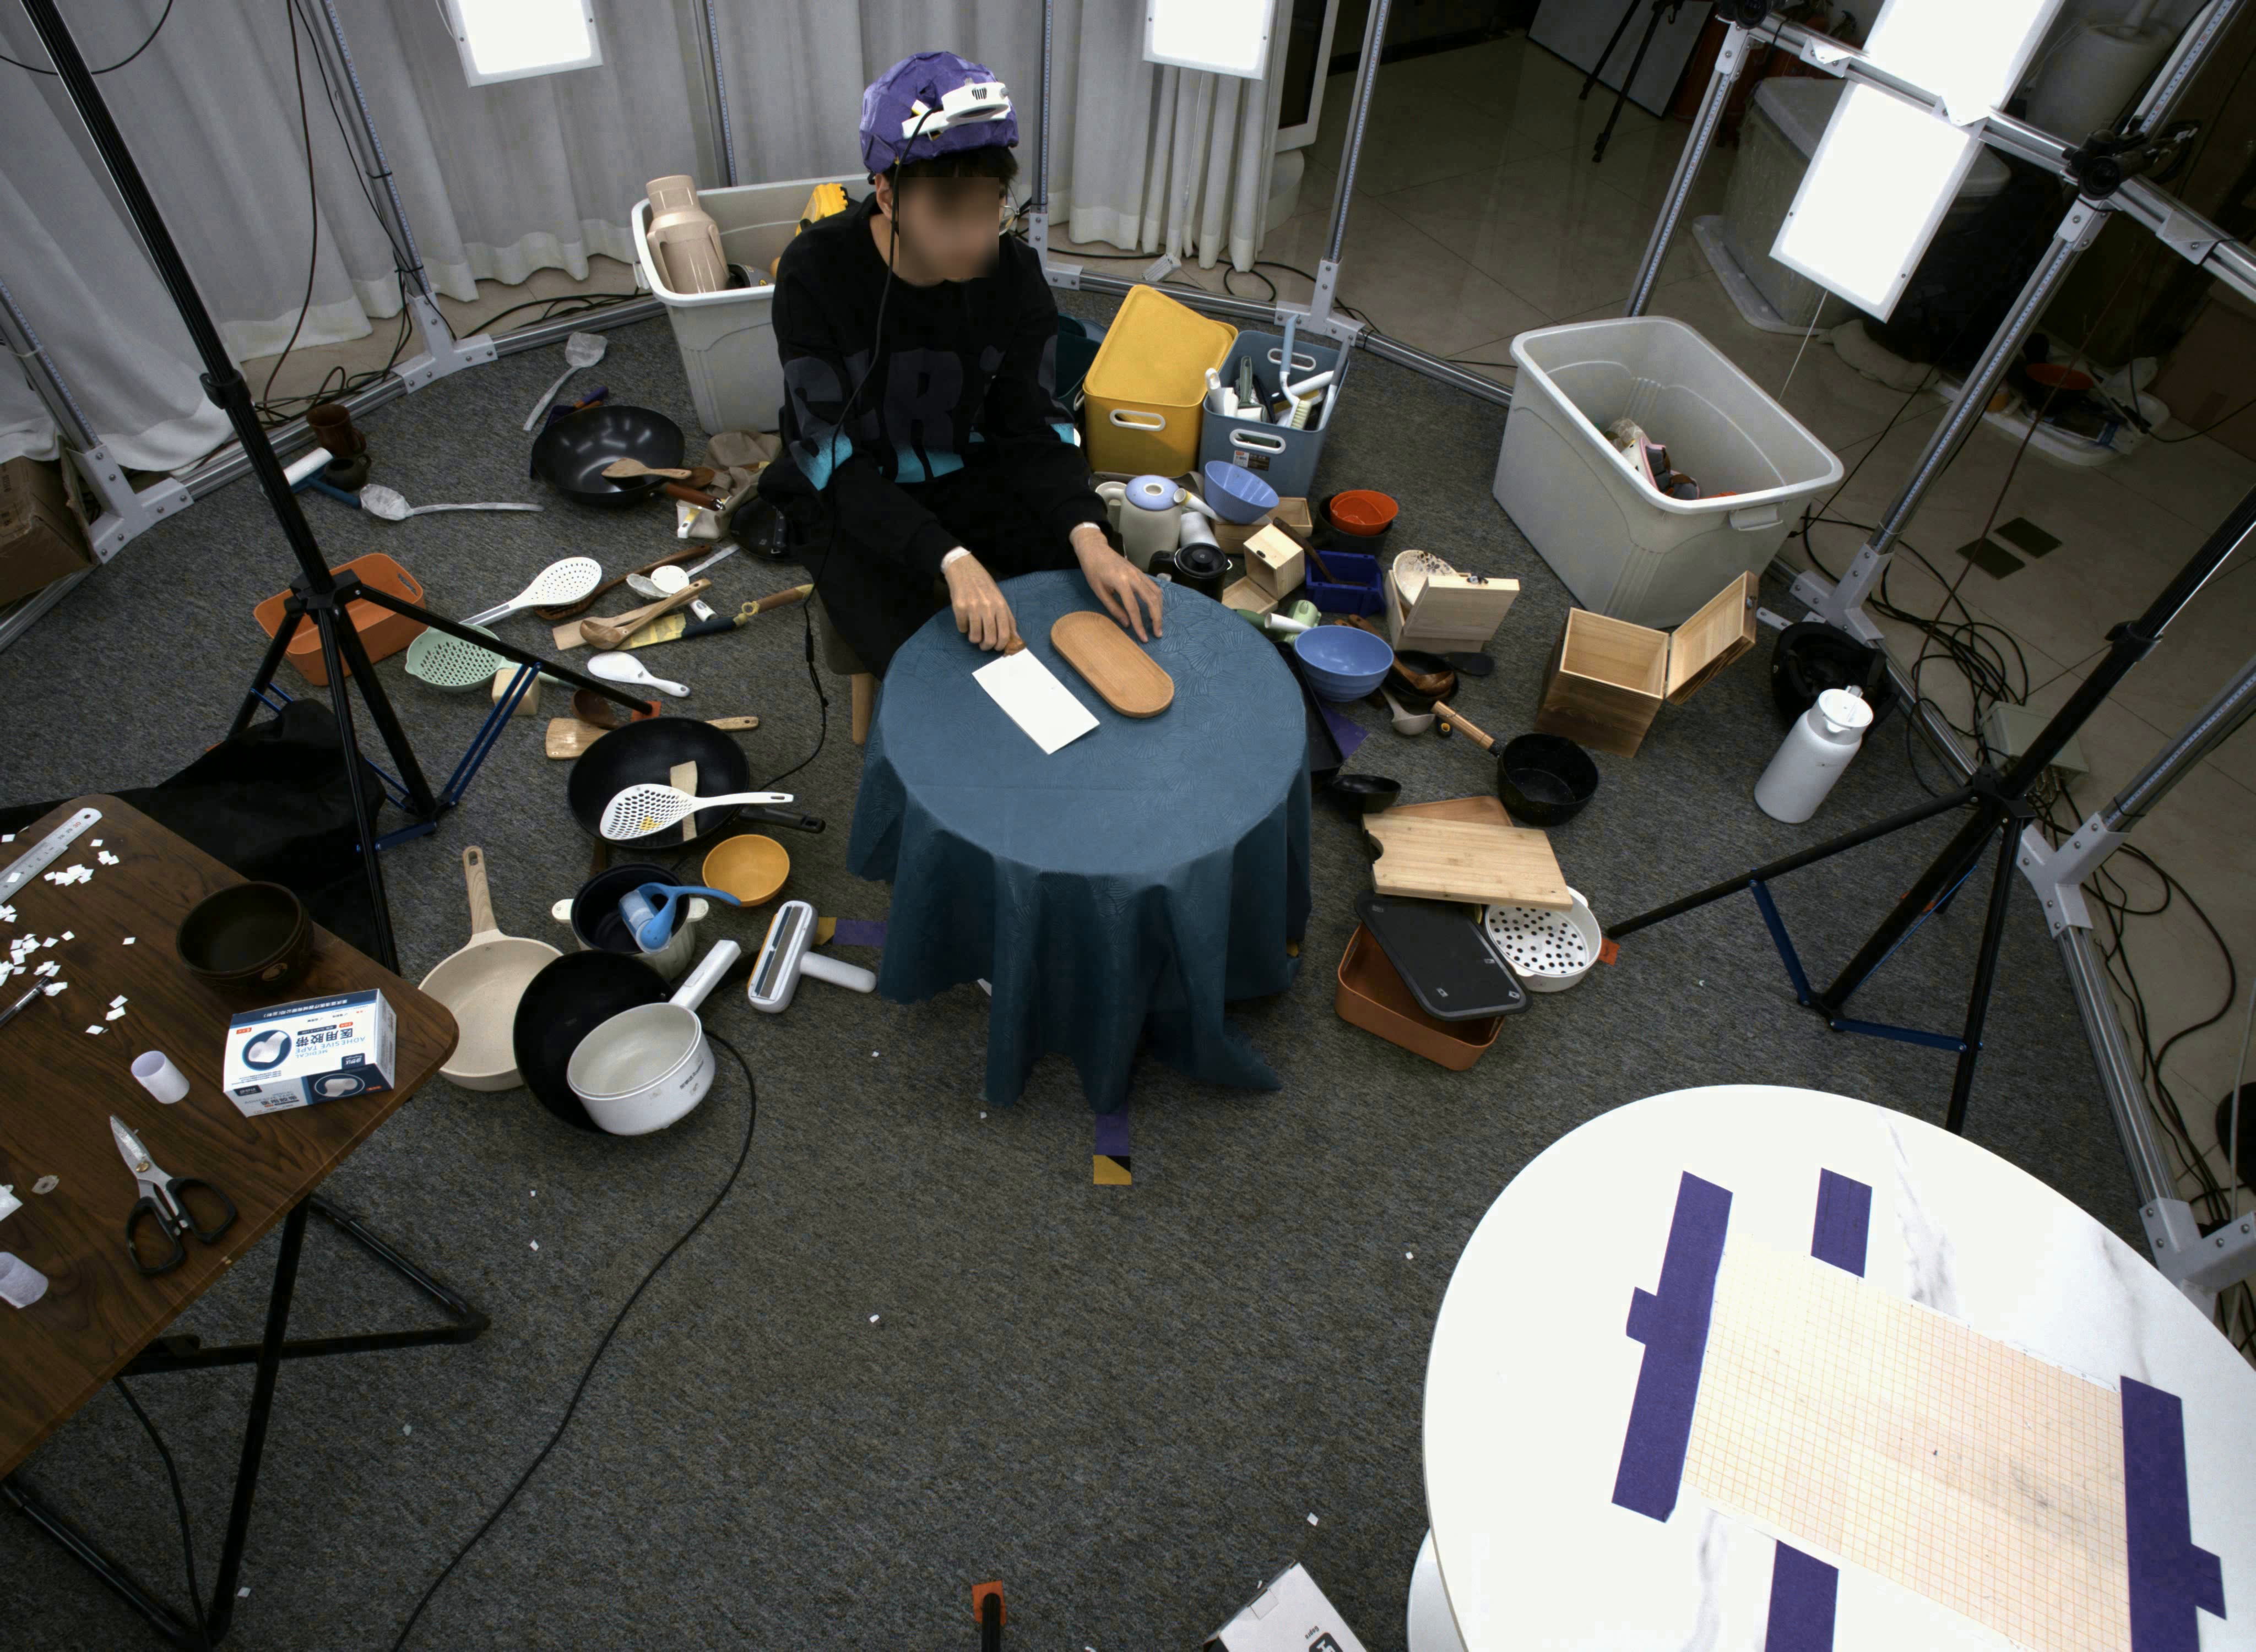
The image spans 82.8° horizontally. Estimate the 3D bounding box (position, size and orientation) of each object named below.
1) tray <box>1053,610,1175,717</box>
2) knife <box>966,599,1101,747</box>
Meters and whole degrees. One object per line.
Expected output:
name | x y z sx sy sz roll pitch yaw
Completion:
tray | -0.022 -0.237 1.862 0.102 0.020 0.235 -26 55 -25
knife | -0.159 -0.218 1.837 0.093 0.020 0.311 -32 59 -18
